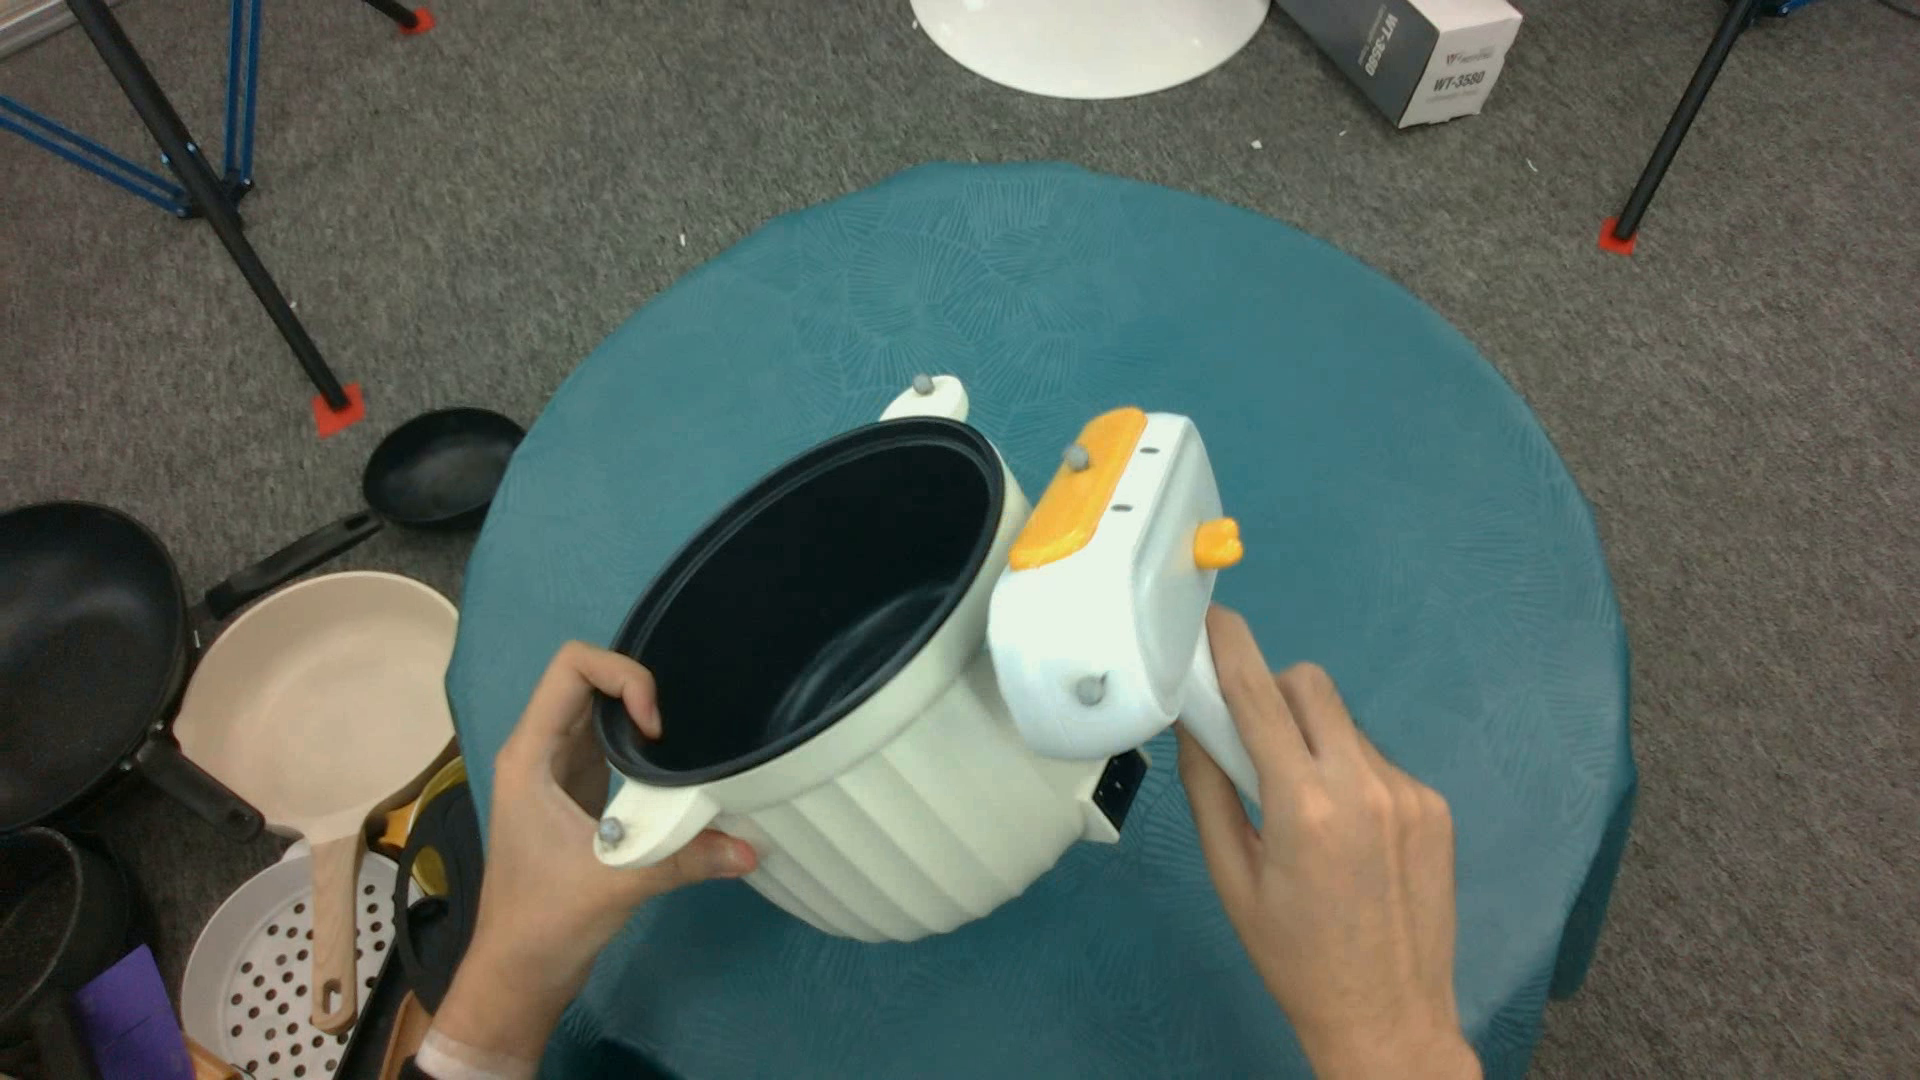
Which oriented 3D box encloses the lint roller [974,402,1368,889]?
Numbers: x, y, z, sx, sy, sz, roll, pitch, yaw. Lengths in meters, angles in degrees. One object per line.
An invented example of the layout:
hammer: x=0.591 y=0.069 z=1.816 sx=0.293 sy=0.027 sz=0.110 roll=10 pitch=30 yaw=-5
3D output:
lint roller: x=0.085 y=0.055 z=0.504 sx=0.074 sy=0.192 sz=0.193 roll=-24 pitch=18 yaw=21

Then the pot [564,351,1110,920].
pot: x=-0.045 y=0.052 z=0.549 sx=0.190 sy=0.142 sz=0.241 roll=-1 pitch=45 yaw=38
